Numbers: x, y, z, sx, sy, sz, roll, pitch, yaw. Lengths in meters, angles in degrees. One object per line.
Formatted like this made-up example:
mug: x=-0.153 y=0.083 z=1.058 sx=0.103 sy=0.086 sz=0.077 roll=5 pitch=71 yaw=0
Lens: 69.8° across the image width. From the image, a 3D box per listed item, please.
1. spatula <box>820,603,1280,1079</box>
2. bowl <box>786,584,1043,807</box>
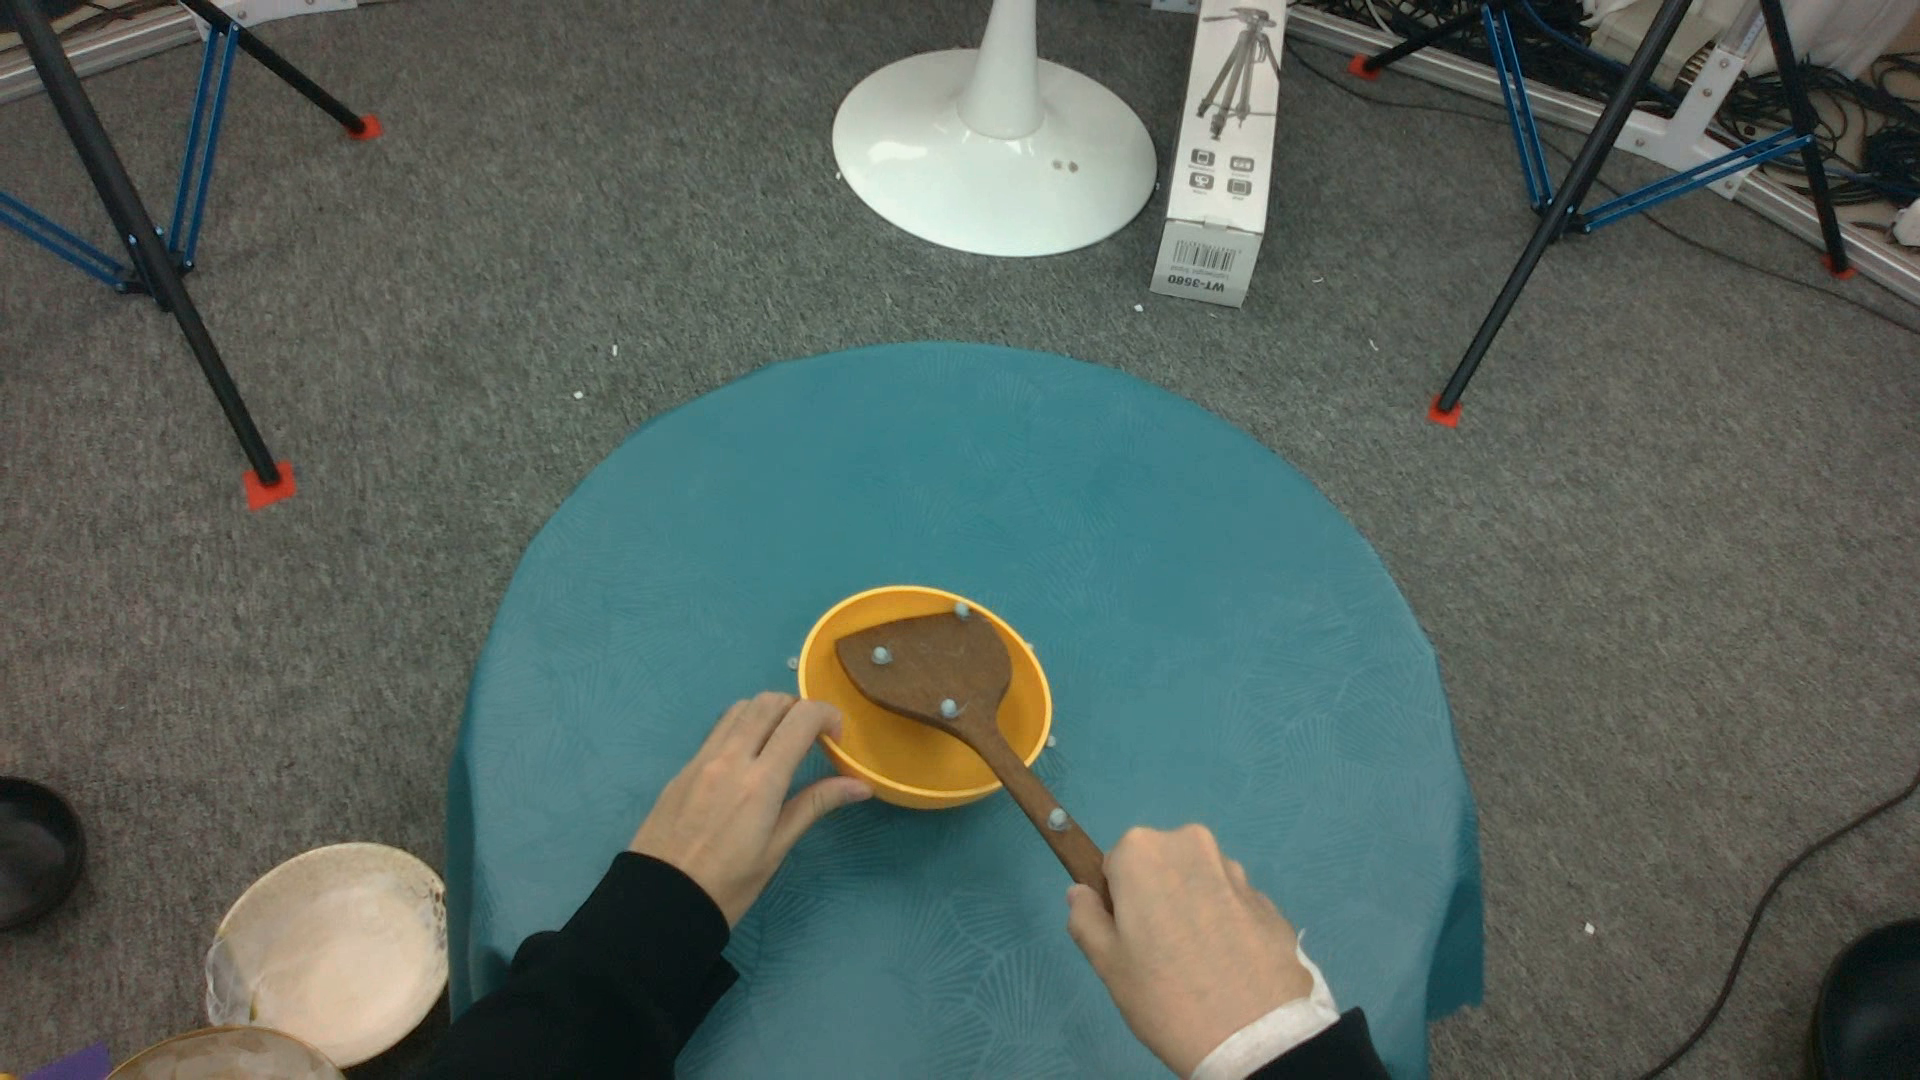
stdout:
spatula: x=0.033 y=0.122 z=0.647 sx=0.096 sy=0.016 sz=0.386 roll=-10 pitch=27 yaw=-21
bowl: x=-0.030 y=0.098 z=0.781 sx=0.145 sy=0.060 sz=0.146 roll=9 pitch=46 yaw=-9
